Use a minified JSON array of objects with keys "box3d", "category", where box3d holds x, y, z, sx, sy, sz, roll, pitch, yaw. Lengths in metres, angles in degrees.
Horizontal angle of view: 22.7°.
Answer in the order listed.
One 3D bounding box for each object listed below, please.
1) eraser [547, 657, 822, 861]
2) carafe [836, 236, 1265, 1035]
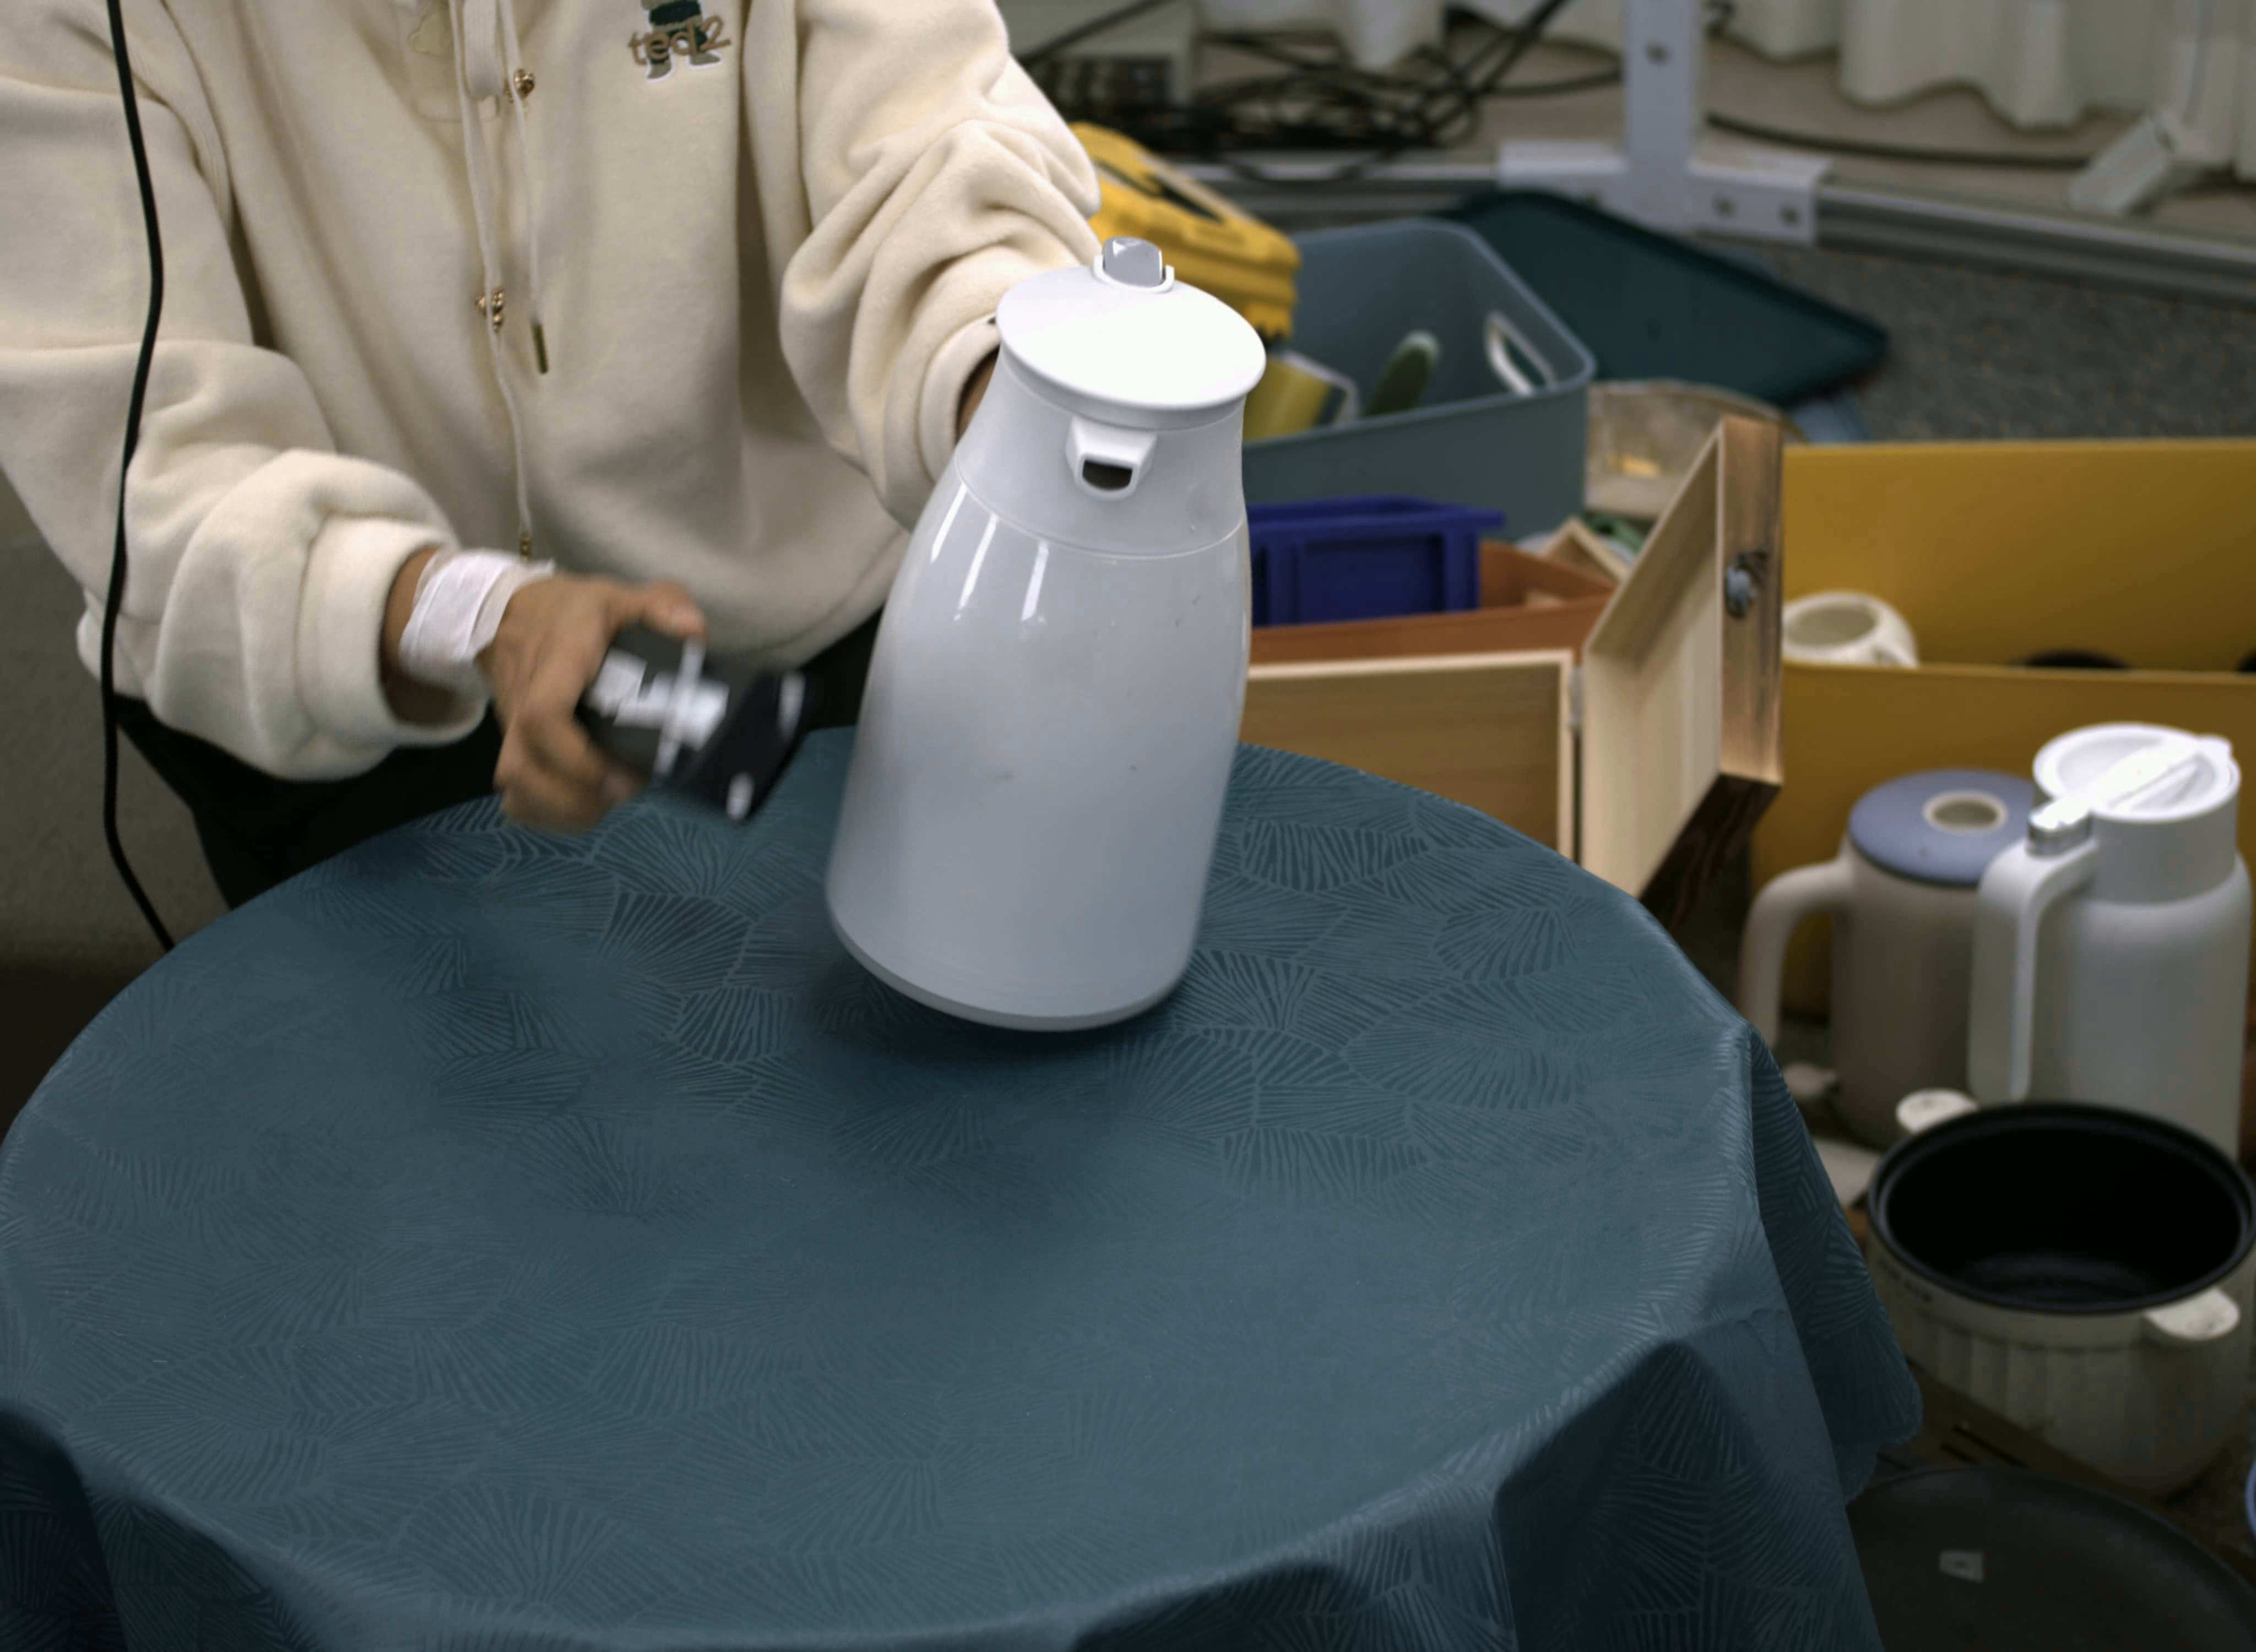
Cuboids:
[{"box3d":[-0.151,-0.024,1.908,0.054,0.030,0.125,-54,28,-11],"category":"eraser"},{"box3d":[-0.019,-0.077,1.938,0.132,0.245,0.170,9,31,-3],"category":"carafe"}]
